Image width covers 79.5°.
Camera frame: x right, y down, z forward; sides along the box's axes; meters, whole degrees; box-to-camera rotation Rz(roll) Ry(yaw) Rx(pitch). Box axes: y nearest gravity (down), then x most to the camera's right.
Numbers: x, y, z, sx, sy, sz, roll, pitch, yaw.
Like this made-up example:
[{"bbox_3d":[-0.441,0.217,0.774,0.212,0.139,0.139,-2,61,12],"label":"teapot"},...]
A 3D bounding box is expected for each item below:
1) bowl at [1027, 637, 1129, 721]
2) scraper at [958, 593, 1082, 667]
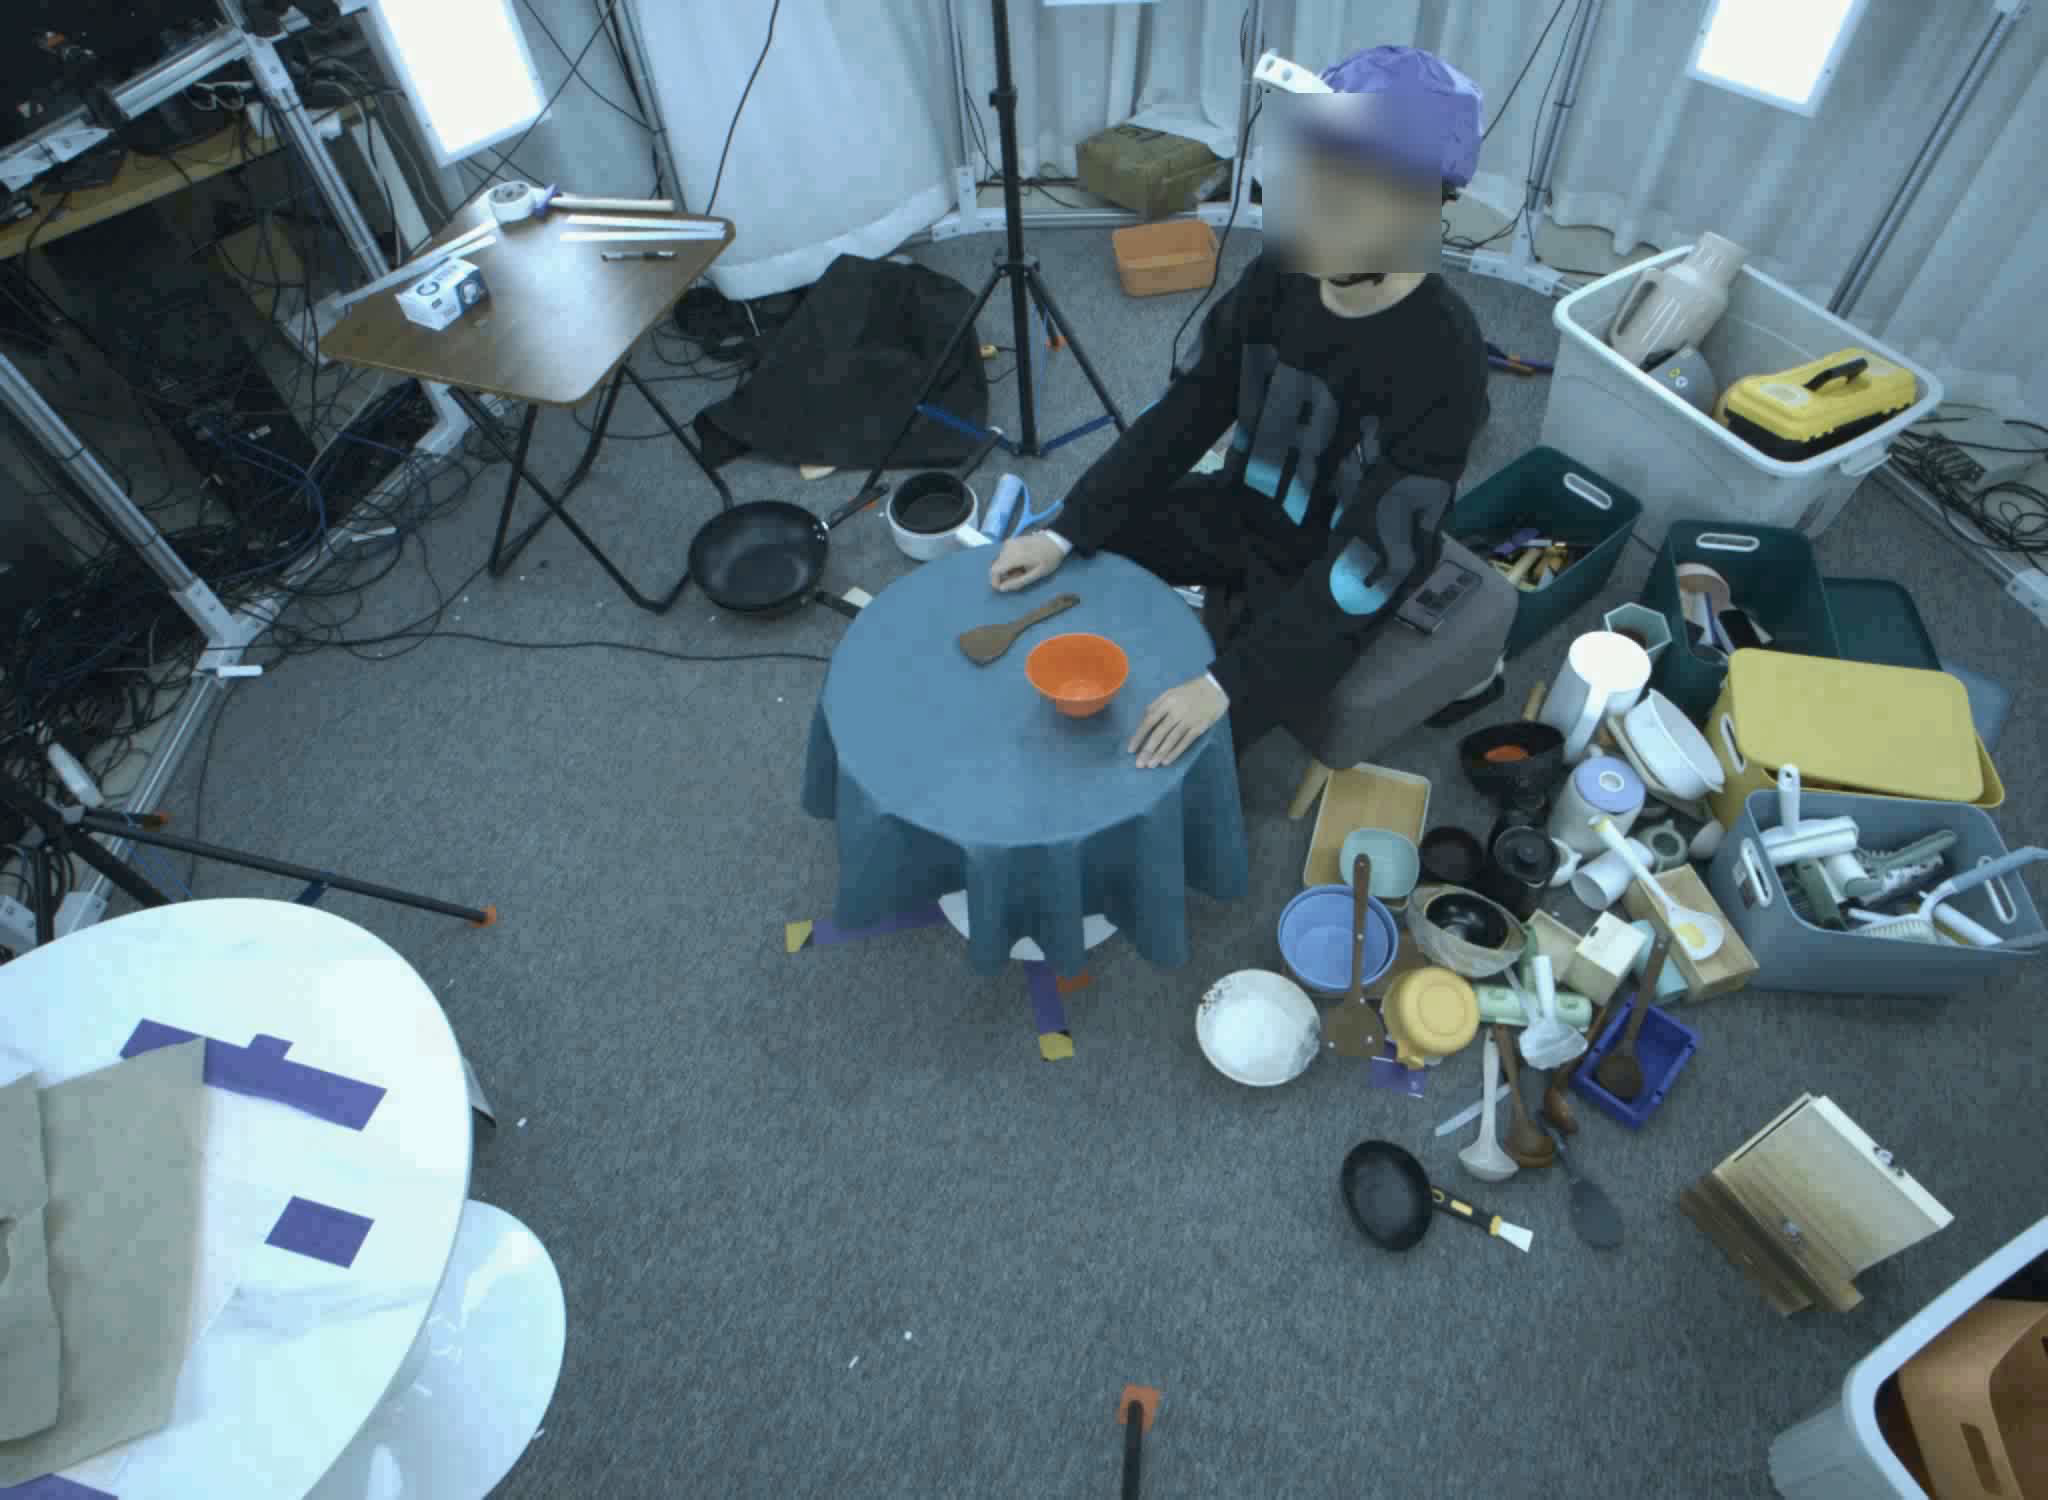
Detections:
[{"bbox_3d":[0.080,-0.090,1.798,0.148,0.106,0.146,-1,53,2],"label":"bowl"},{"bbox_3d":[-0.001,-0.195,1.930,0.213,0.011,0.074,-29,60,-18],"label":"scraper"}]
